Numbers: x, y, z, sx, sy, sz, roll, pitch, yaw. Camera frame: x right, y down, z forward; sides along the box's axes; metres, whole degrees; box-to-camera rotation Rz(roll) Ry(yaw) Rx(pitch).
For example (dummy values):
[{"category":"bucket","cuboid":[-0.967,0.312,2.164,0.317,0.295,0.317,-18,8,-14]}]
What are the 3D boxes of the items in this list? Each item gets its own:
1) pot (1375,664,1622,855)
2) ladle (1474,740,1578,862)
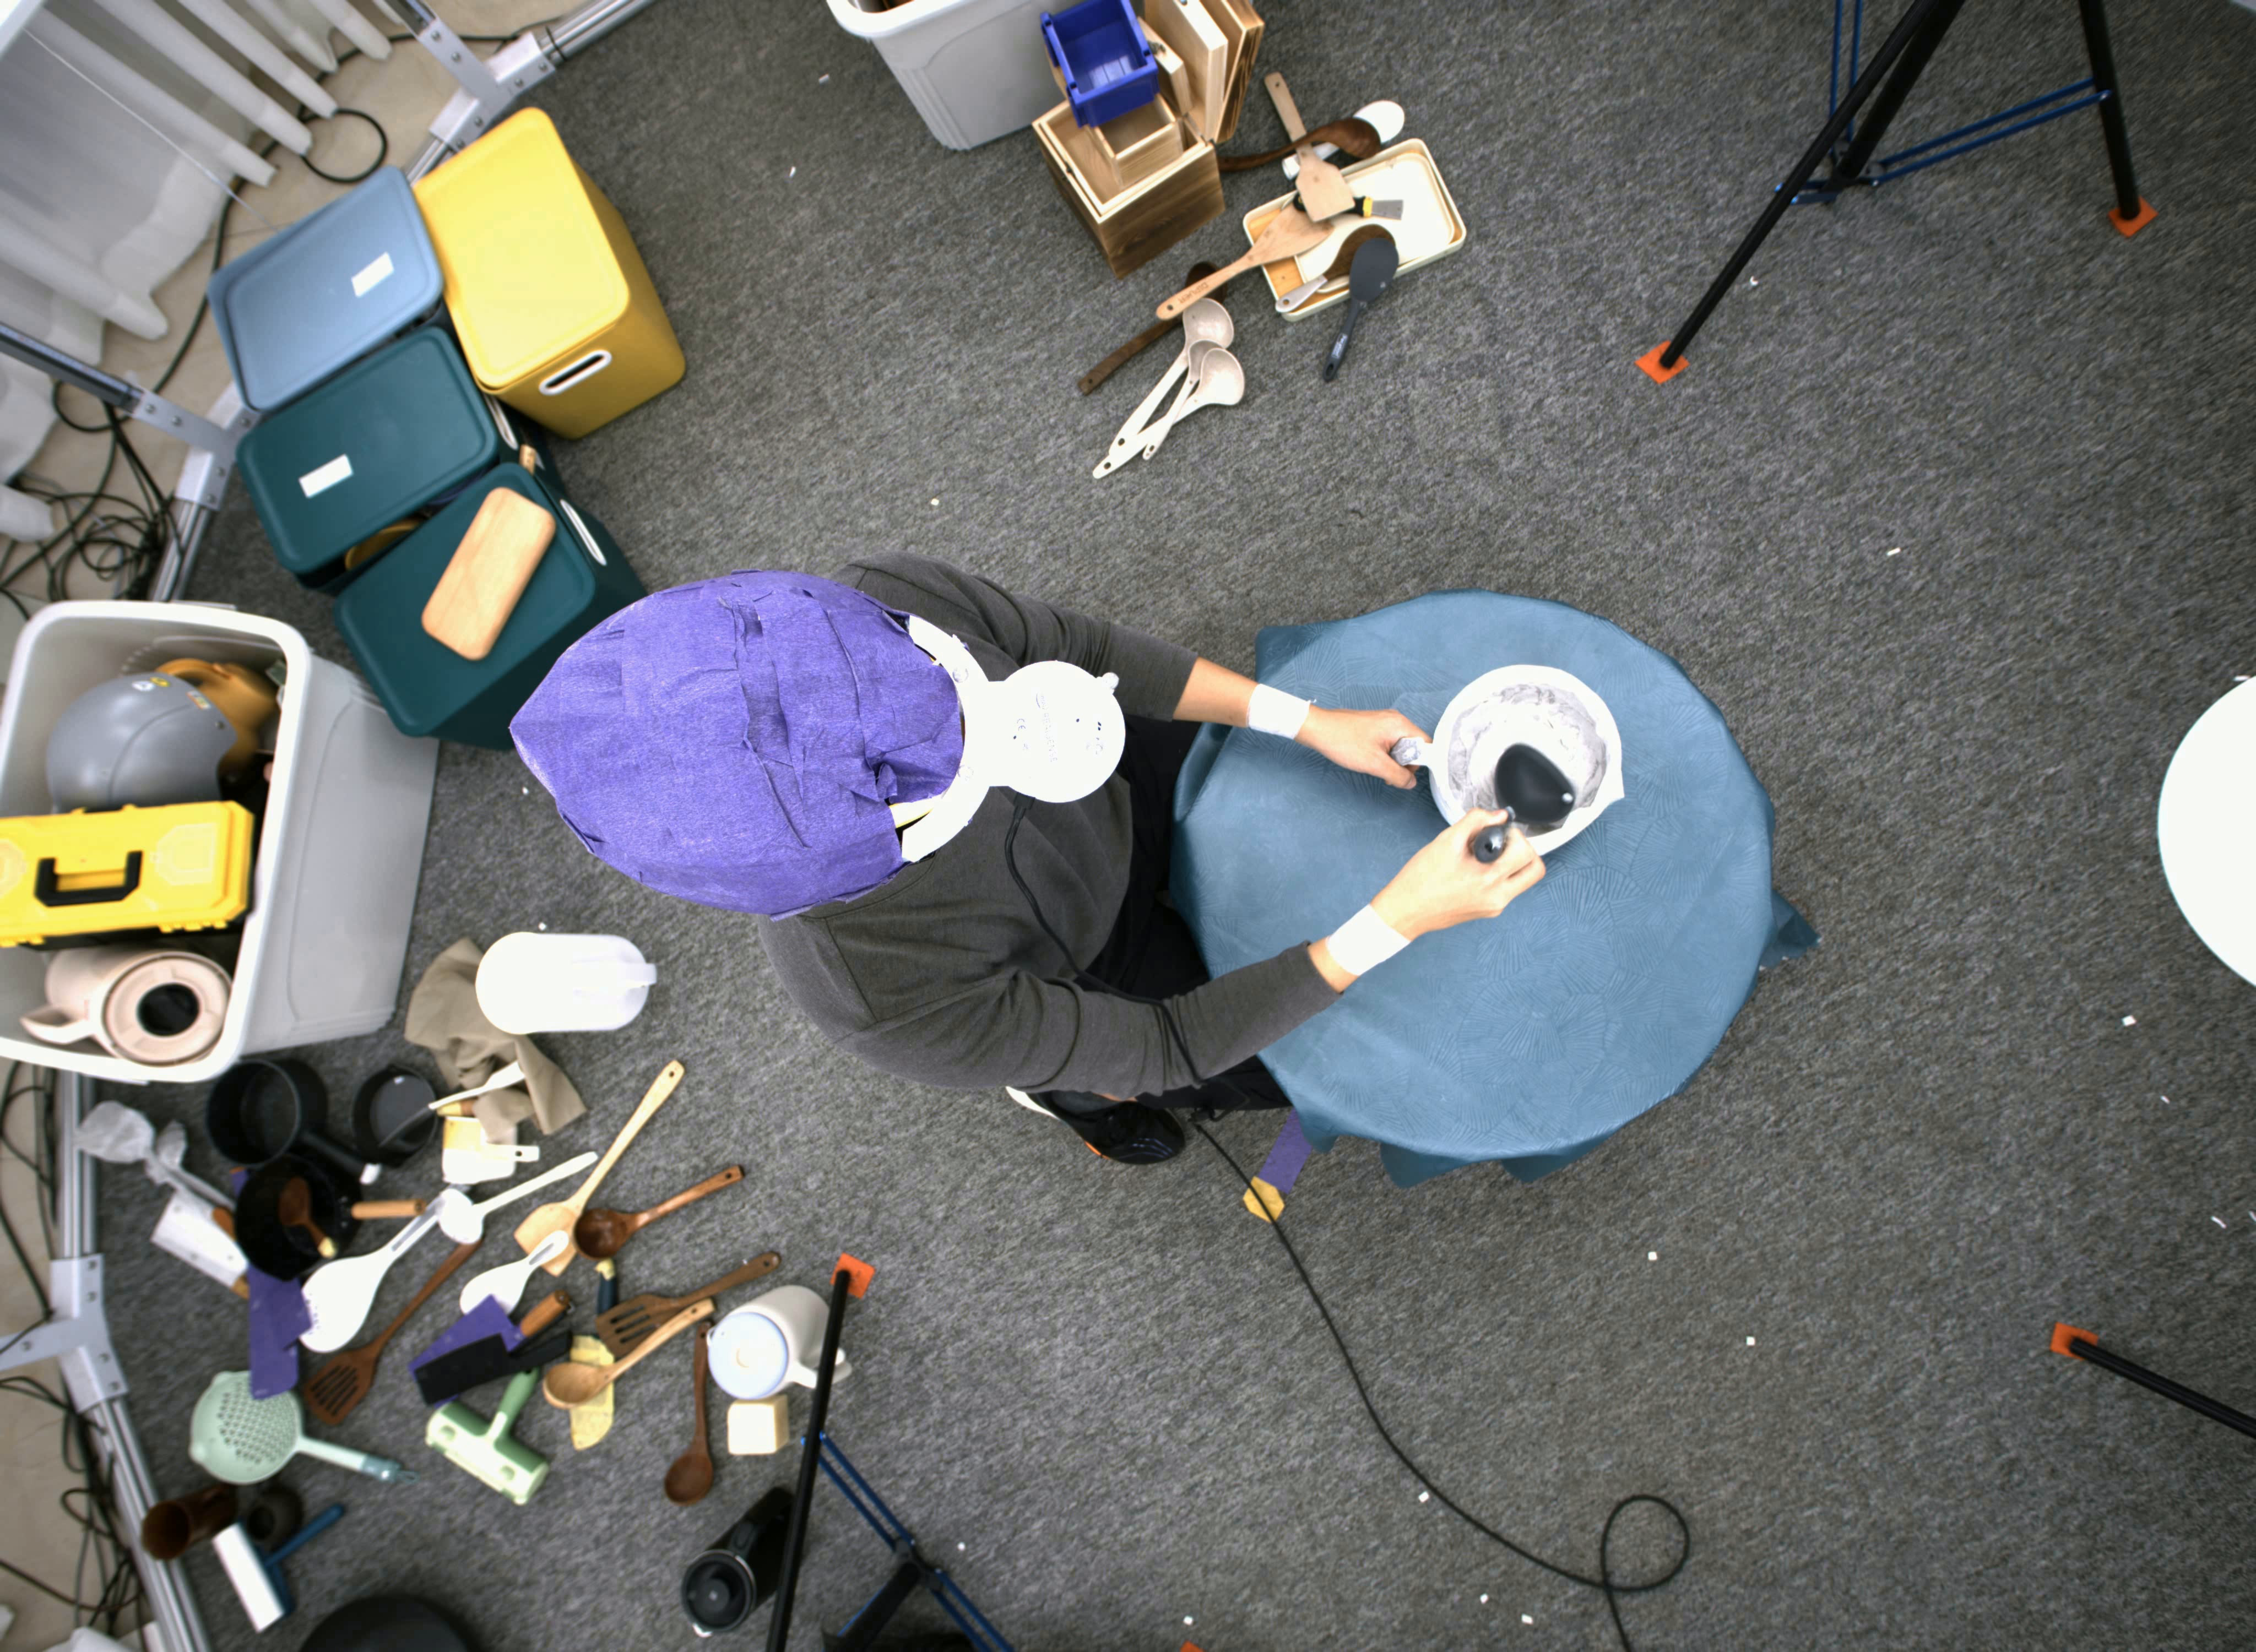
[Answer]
[{"category":"pot","cuboid":[0.366,-0.066,1.380,0.234,0.137,0.178,4,86,12]},{"category":"ladle","cuboid":[0.353,-0.022,1.232,0.086,0.310,0.065,42,111,10]}]
